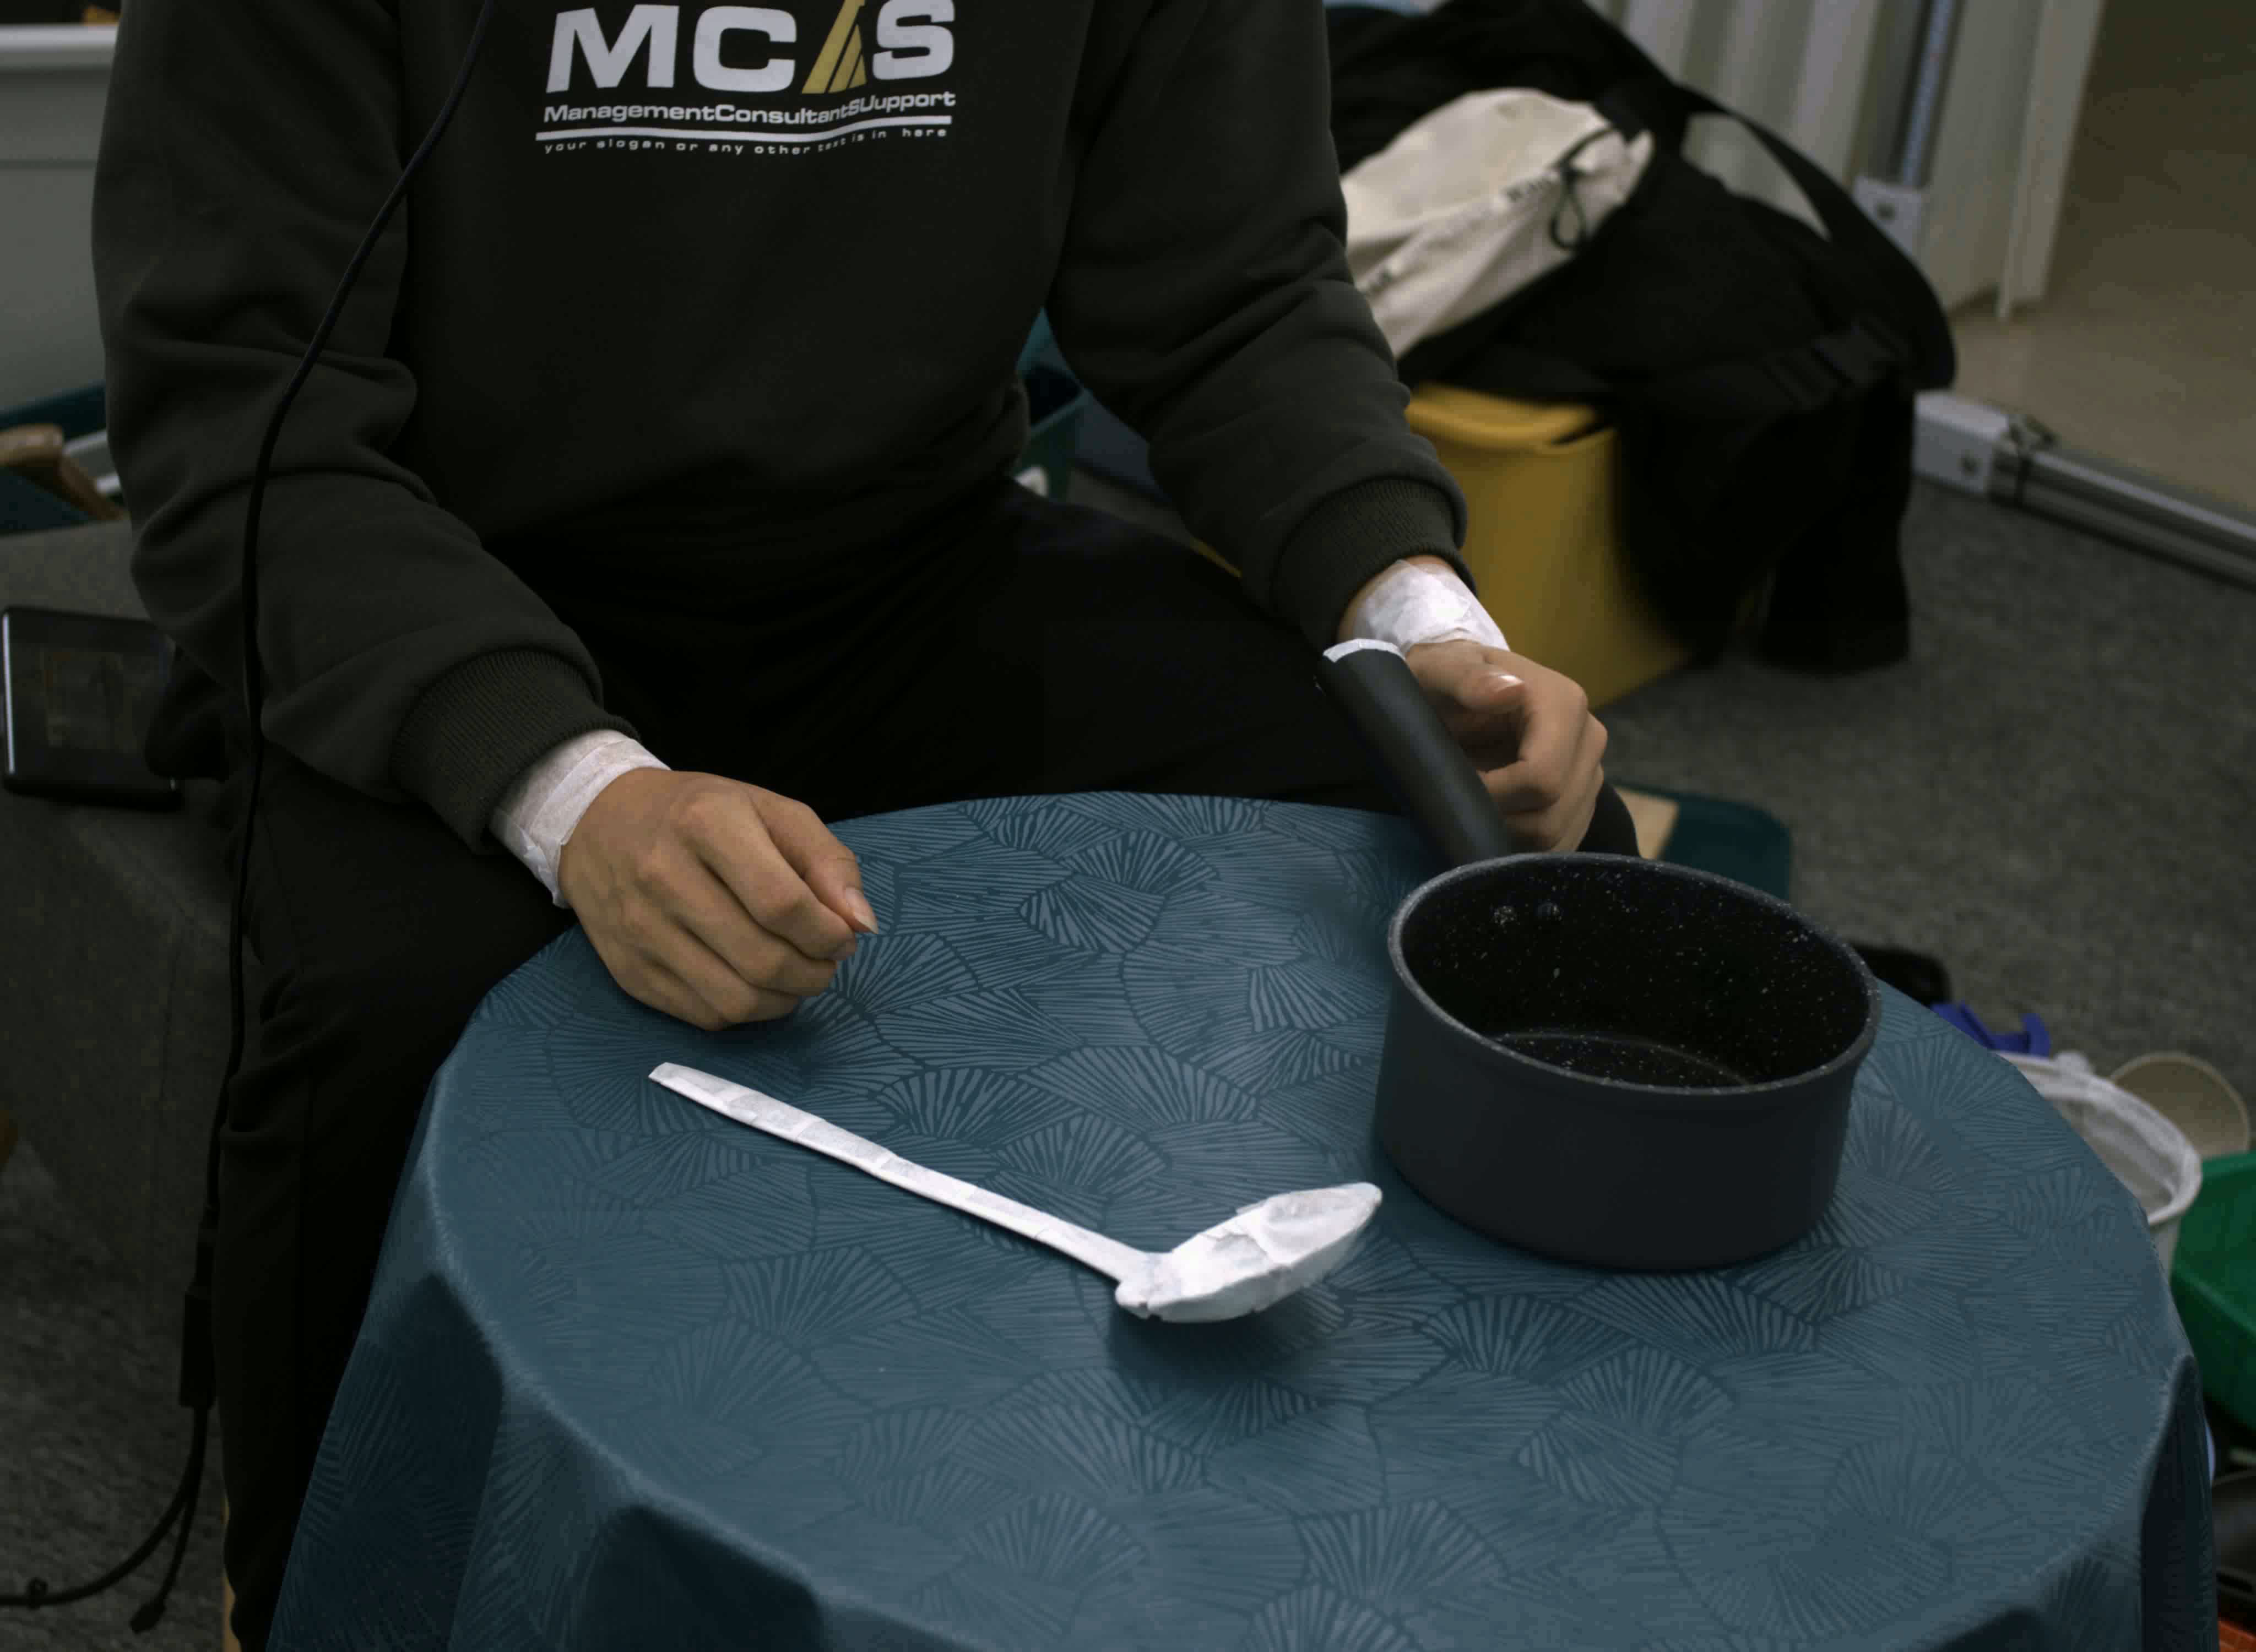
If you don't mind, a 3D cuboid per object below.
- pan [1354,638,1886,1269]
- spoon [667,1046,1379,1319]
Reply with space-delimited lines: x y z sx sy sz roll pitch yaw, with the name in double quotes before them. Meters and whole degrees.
"pan" 0.146 0.042 1.907 0.171 0.086 0.331 -2 29 -19
"spoon" -0.041 0.102 1.777 0.279 0.059 0.100 23 28 29
